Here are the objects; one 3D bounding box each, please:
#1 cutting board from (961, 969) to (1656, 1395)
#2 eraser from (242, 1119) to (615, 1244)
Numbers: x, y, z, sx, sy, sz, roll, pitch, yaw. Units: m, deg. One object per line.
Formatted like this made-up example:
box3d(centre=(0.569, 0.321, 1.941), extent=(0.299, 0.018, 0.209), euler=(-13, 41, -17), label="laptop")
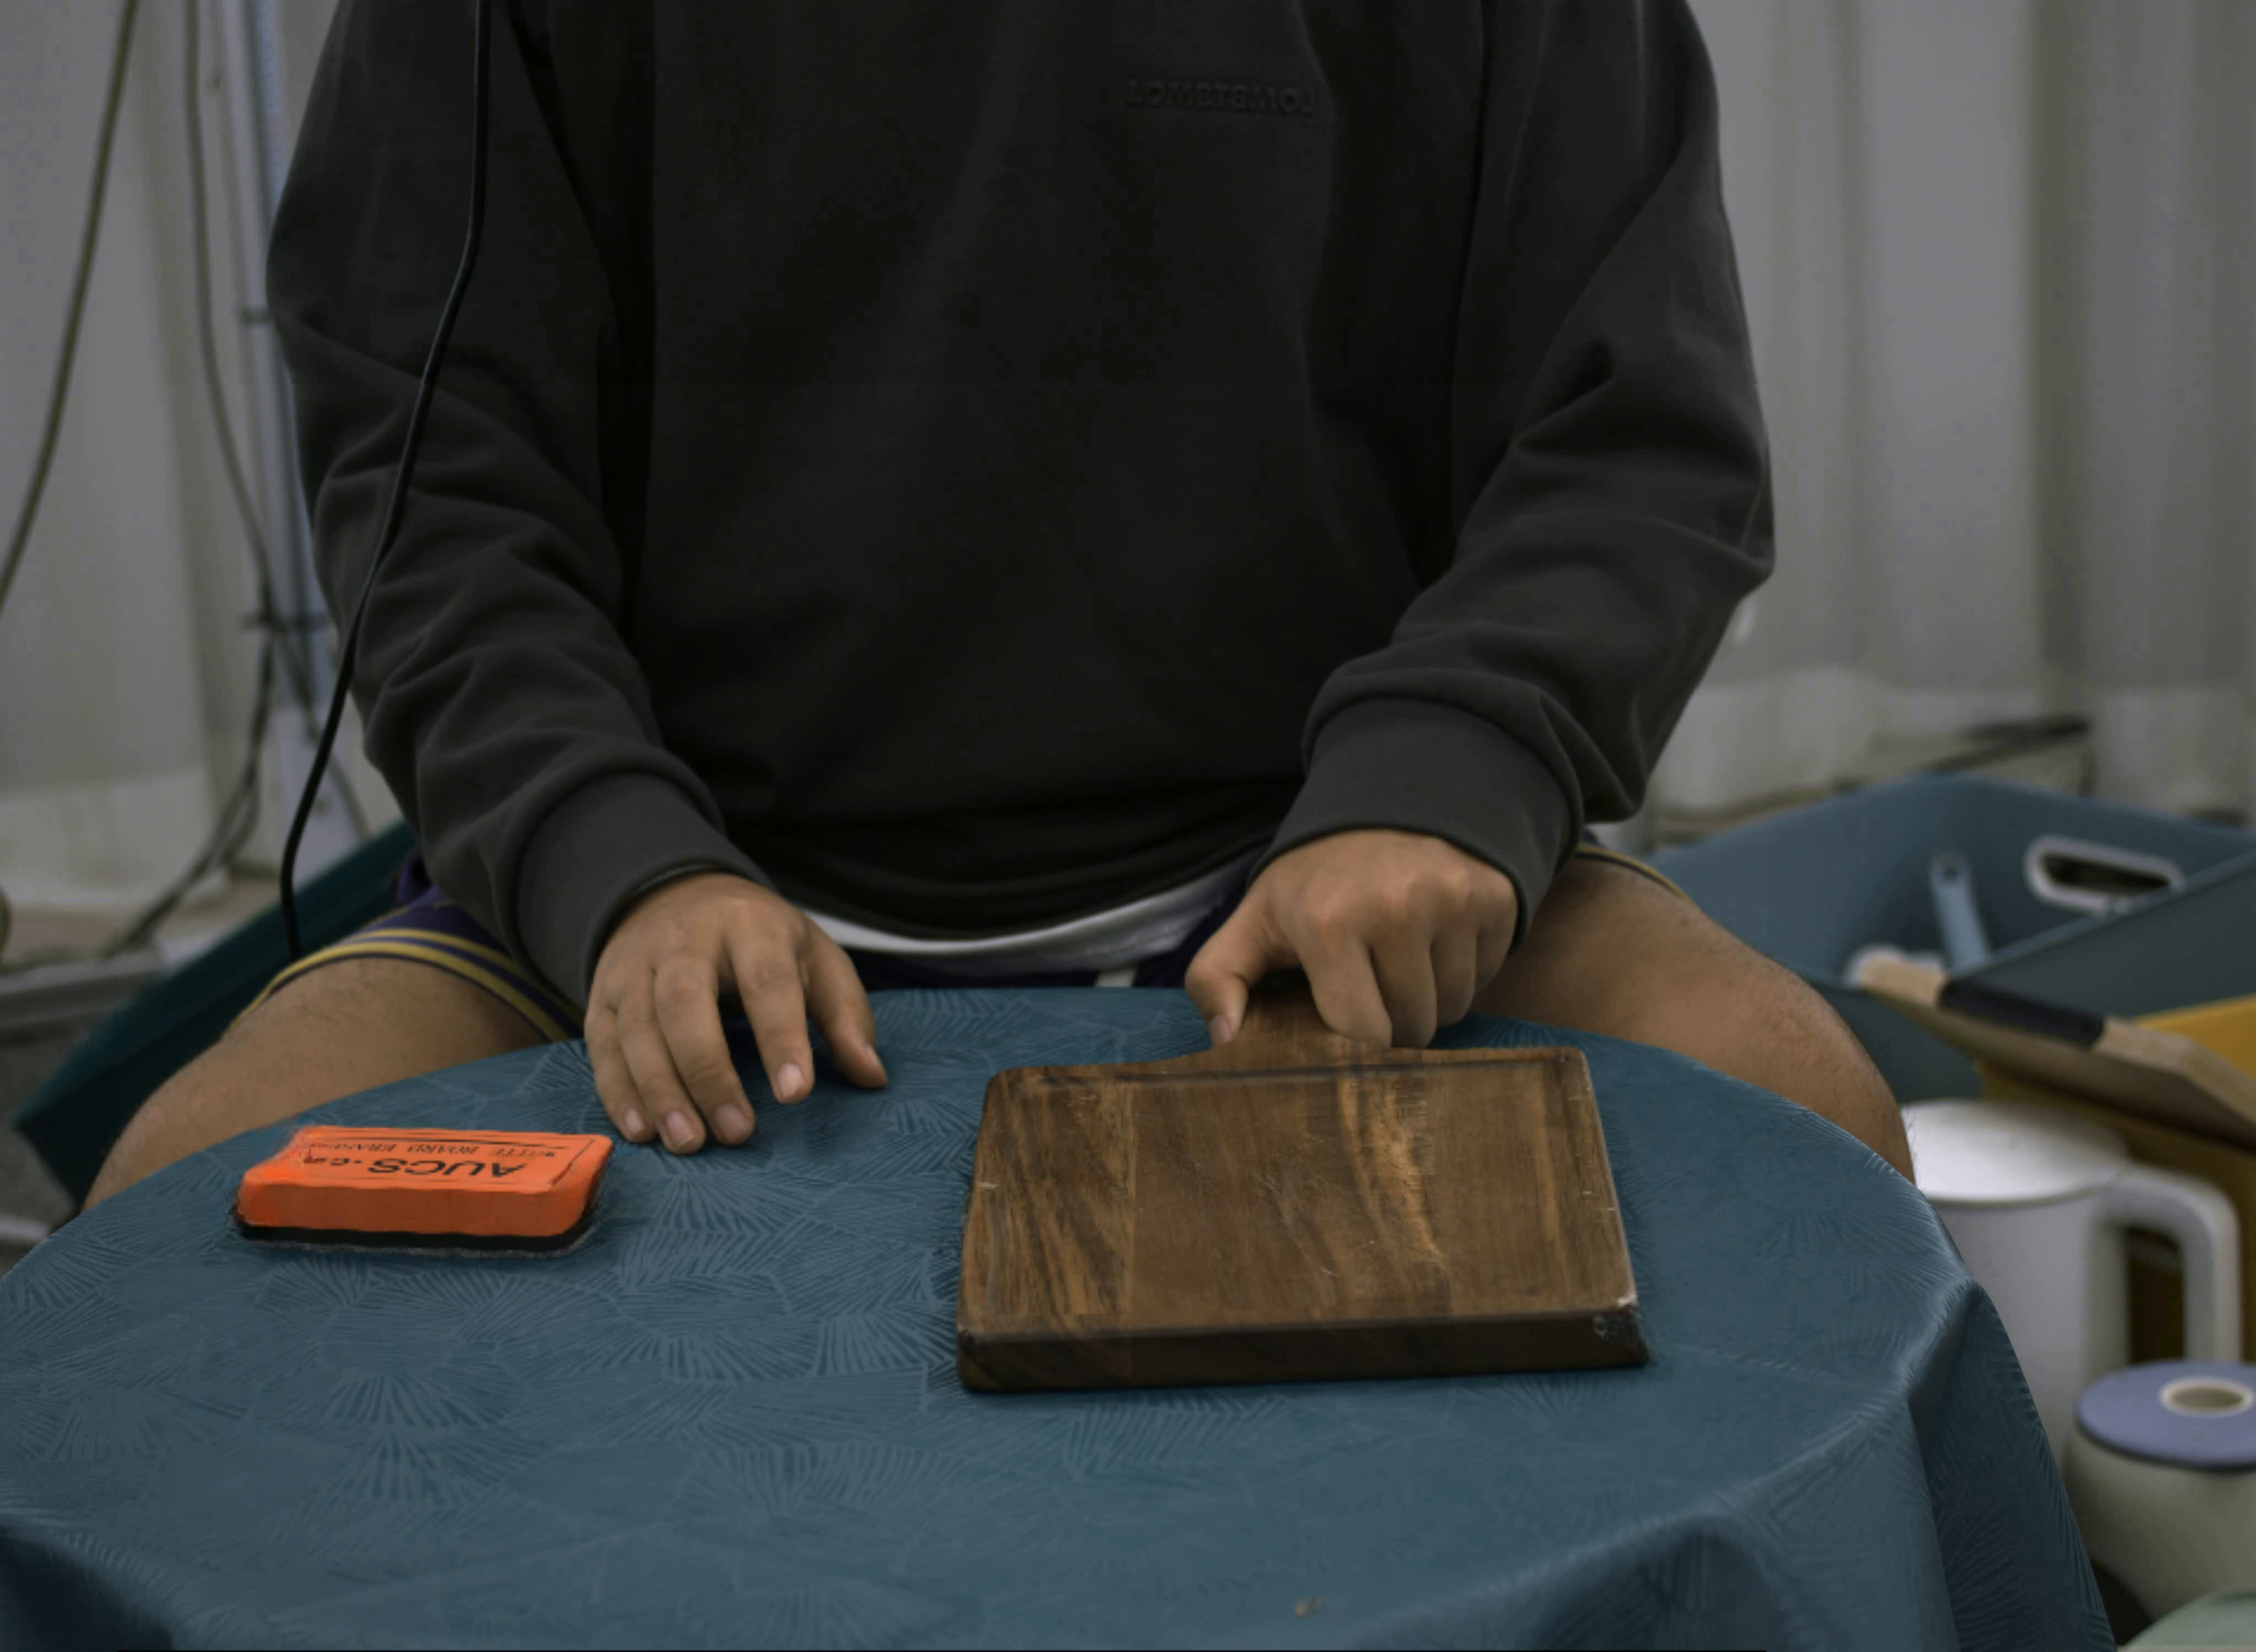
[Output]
box3d(centre=(0.050, 0.103, 1.709), extent=(0.200, 0.023, 0.354), euler=(-3, 15, 1), label="cutting board")
box3d(centre=(-0.218, 0.111, 1.713), extent=(0.108, 0.023, 0.059), euler=(0, 15, 15), label="eraser")
